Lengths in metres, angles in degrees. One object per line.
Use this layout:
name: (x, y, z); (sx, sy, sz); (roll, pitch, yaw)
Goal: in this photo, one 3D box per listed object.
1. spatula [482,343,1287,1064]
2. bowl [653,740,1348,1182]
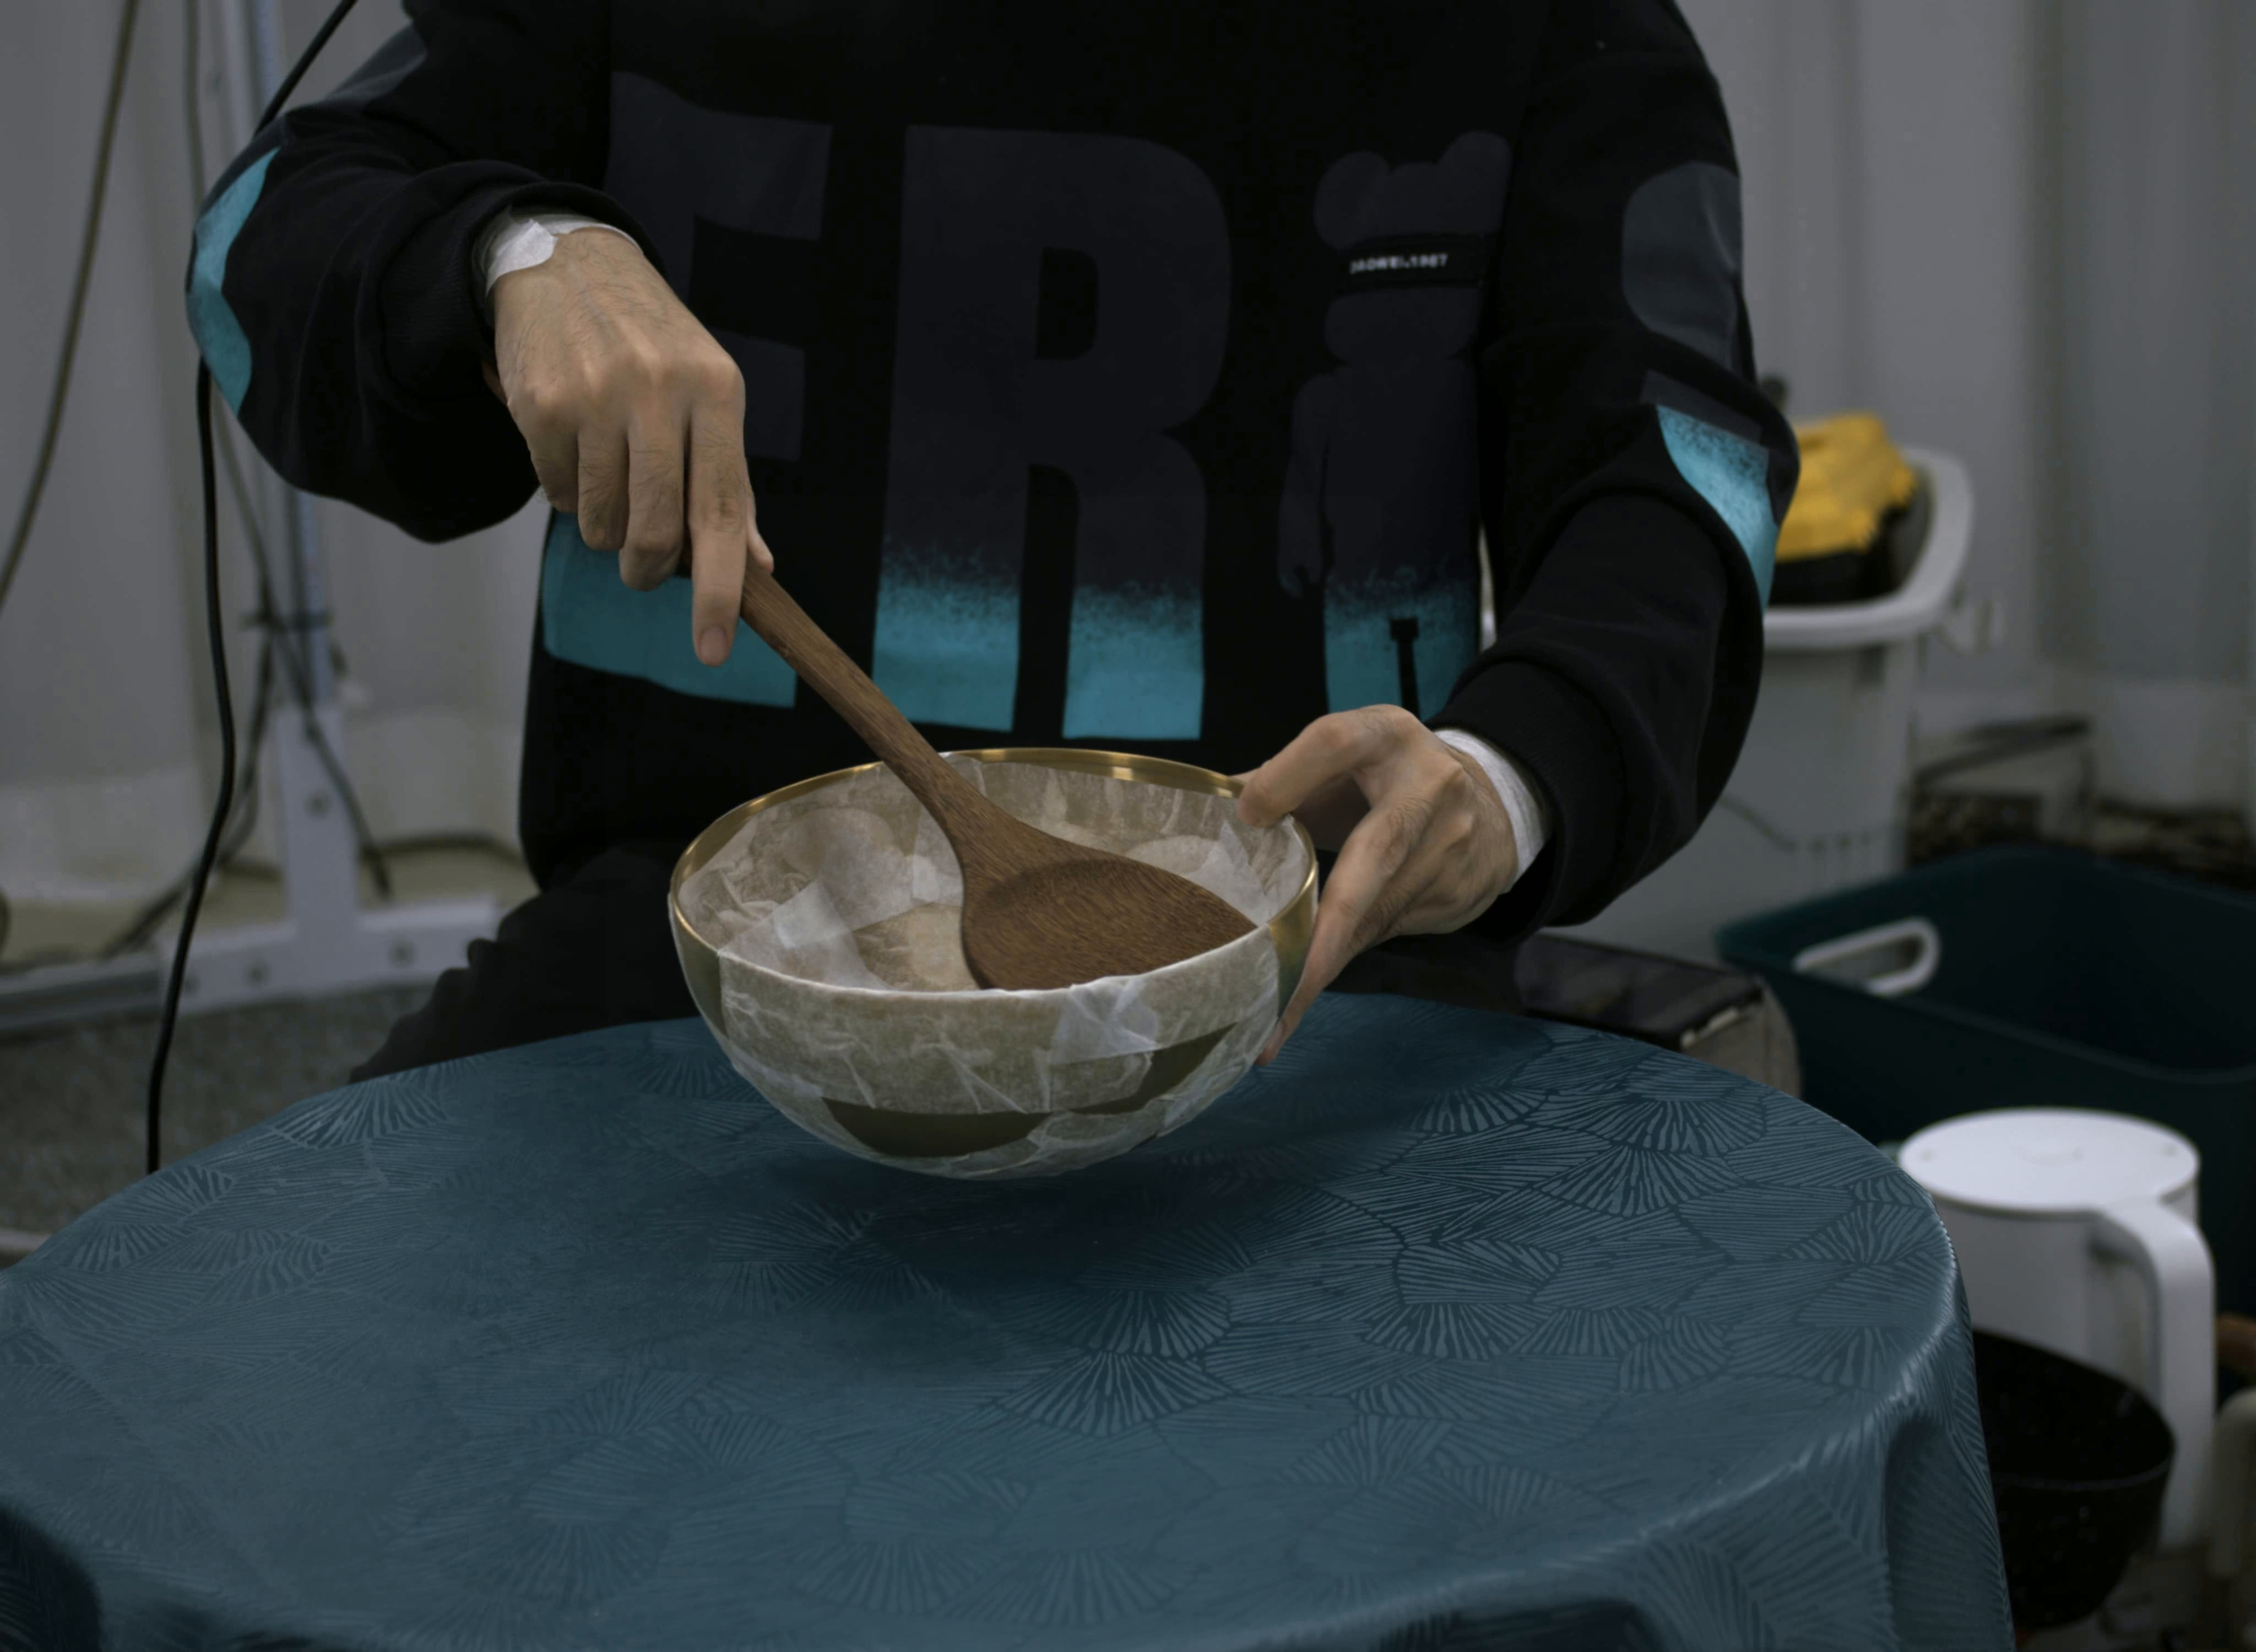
spatula: (-0.095, -0.048, 1.733); (0.096, 0.015, 0.390); (-19, 49, -35)
bowl: (-0.038, 0.052, 1.691); (0.214, 0.094, 0.216); (-3, 20, 1)
